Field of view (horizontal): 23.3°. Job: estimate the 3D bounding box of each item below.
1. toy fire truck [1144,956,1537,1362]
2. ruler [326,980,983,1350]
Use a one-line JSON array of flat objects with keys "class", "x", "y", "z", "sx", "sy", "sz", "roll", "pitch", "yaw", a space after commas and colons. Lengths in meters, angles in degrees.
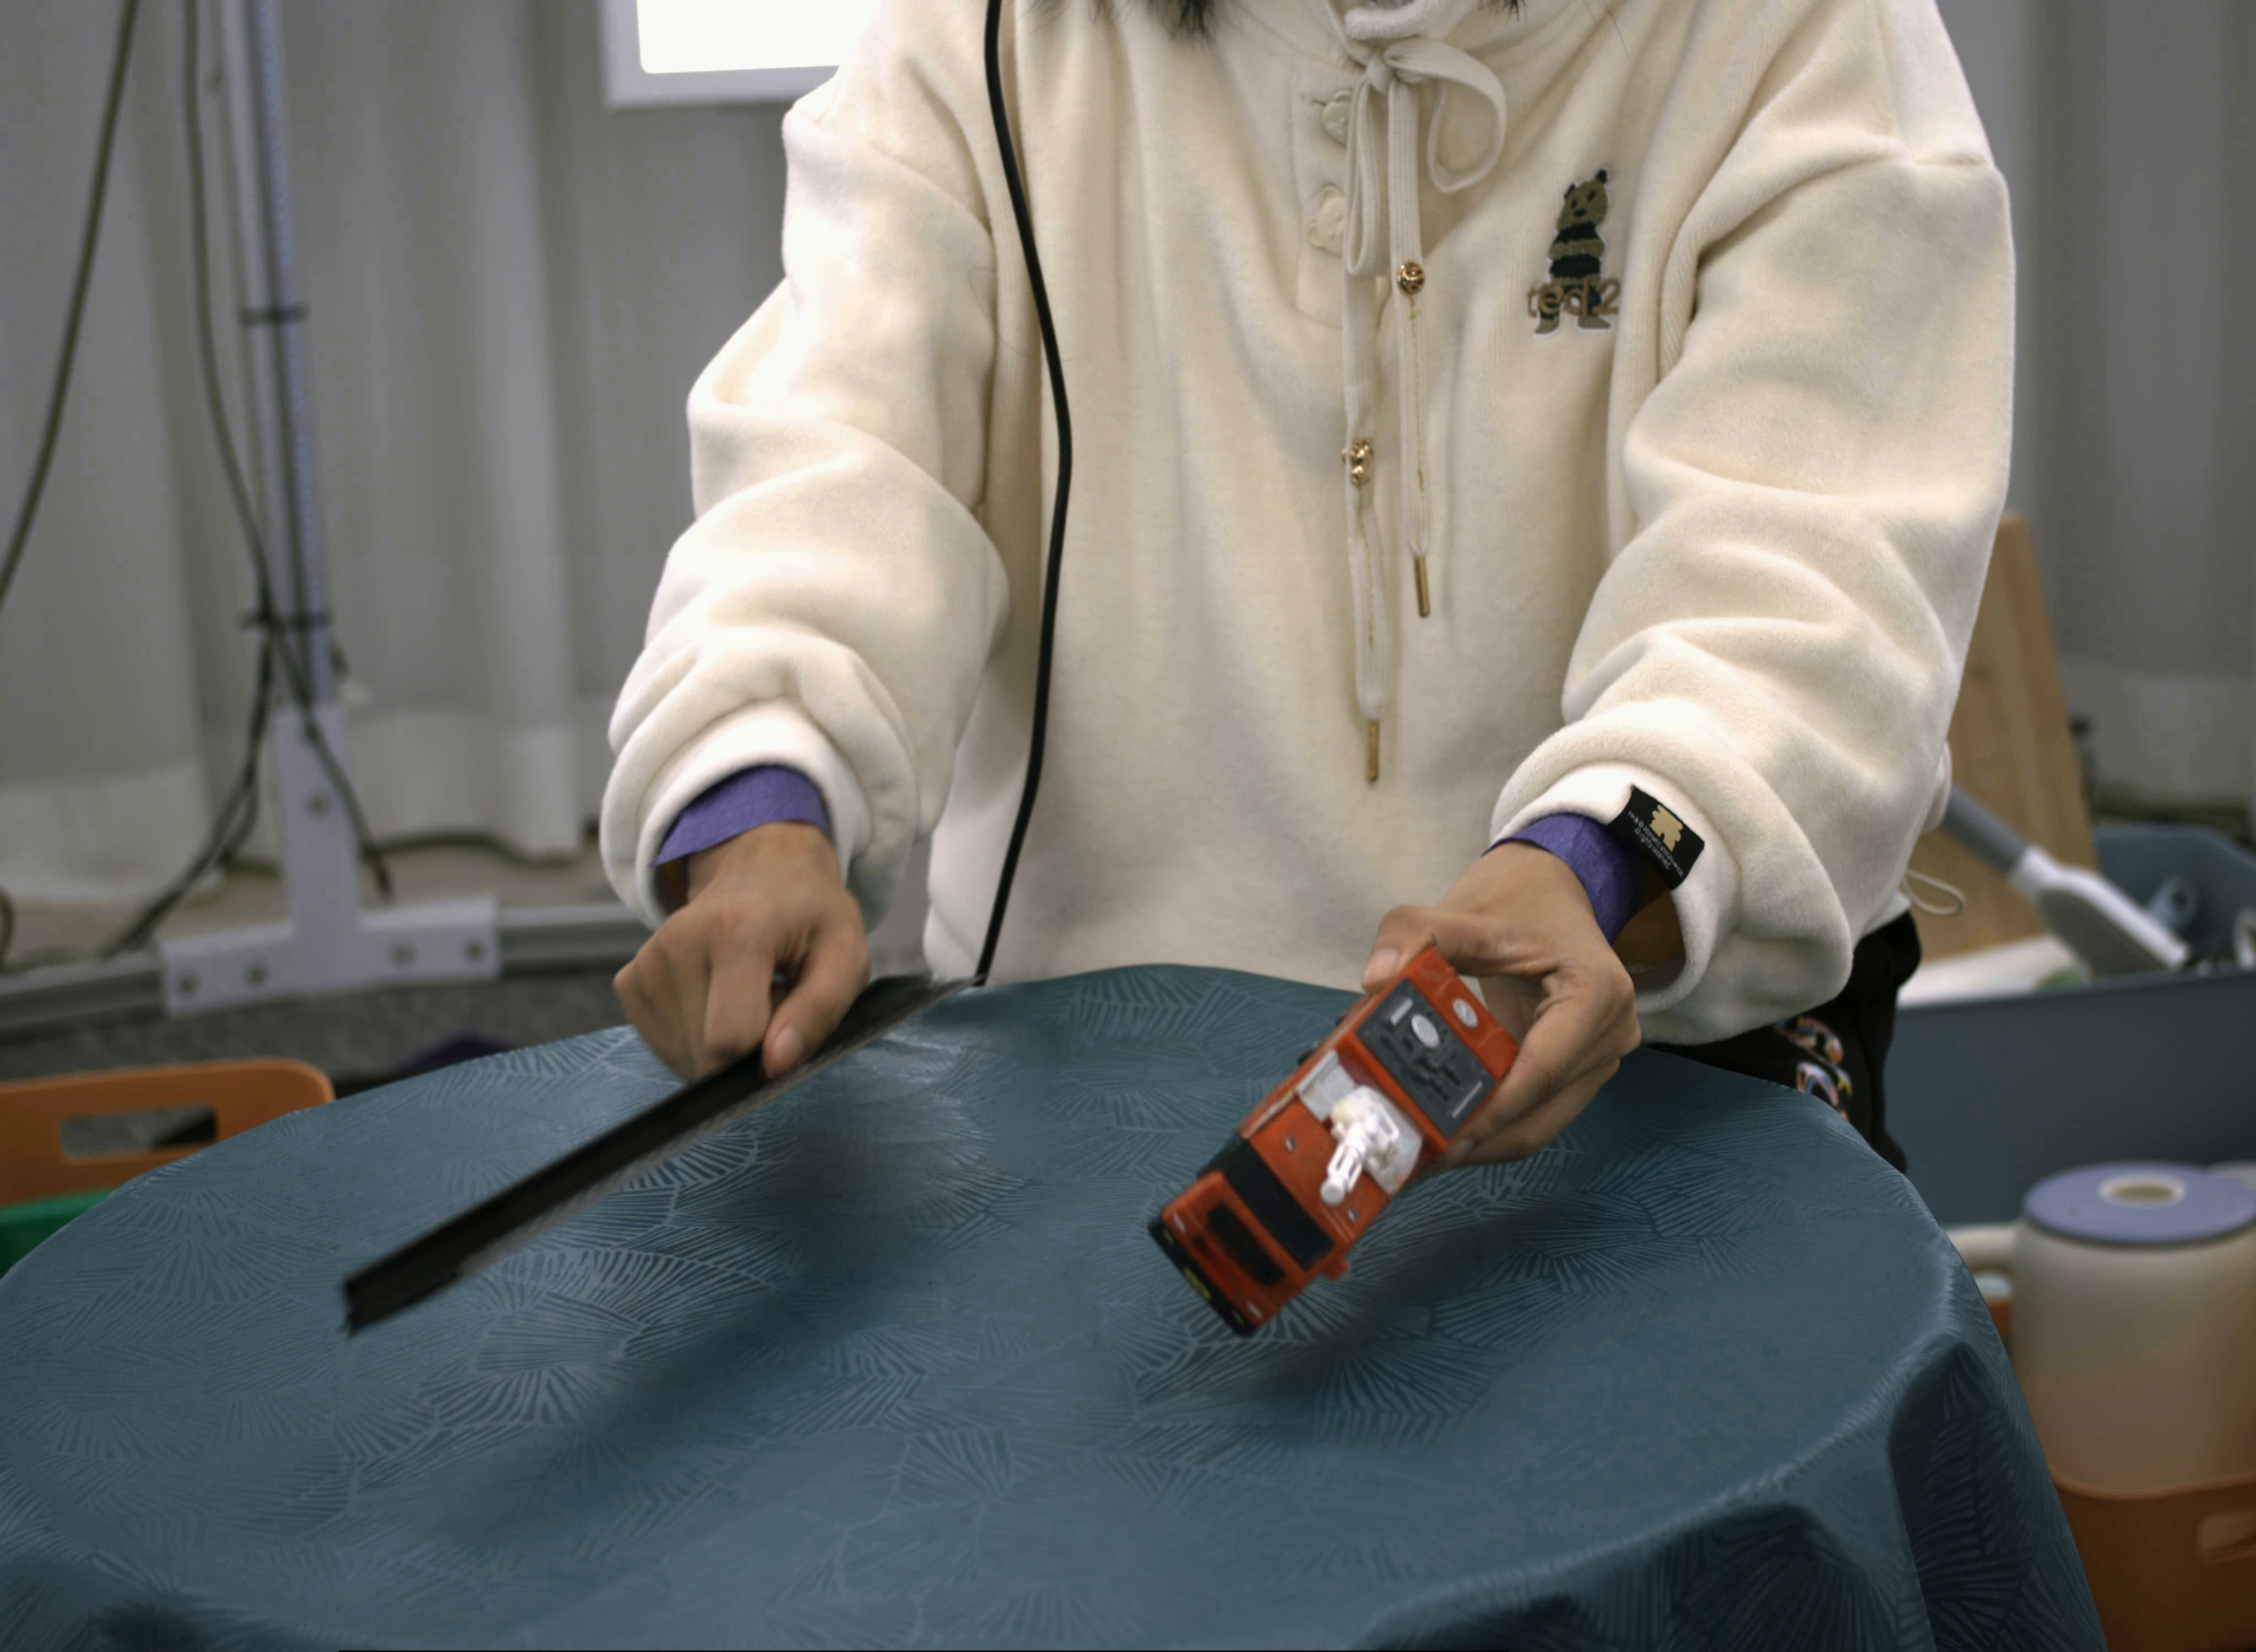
[{"class": "toy fire truck", "x": 0.064, "y": 0.094, "z": 1.584, "sx": 0.070, "sy": 0.054, "sz": 0.168, "roll": -45, "pitch": -2, "yaw": 29}, {"class": "ruler", "x": -0.134, "y": 0.091, "z": 1.617, "sx": 0.039, "sy": 0.017, "sz": 0.313, "roll": -24, "pitch": 3, "yaw": 32}]
